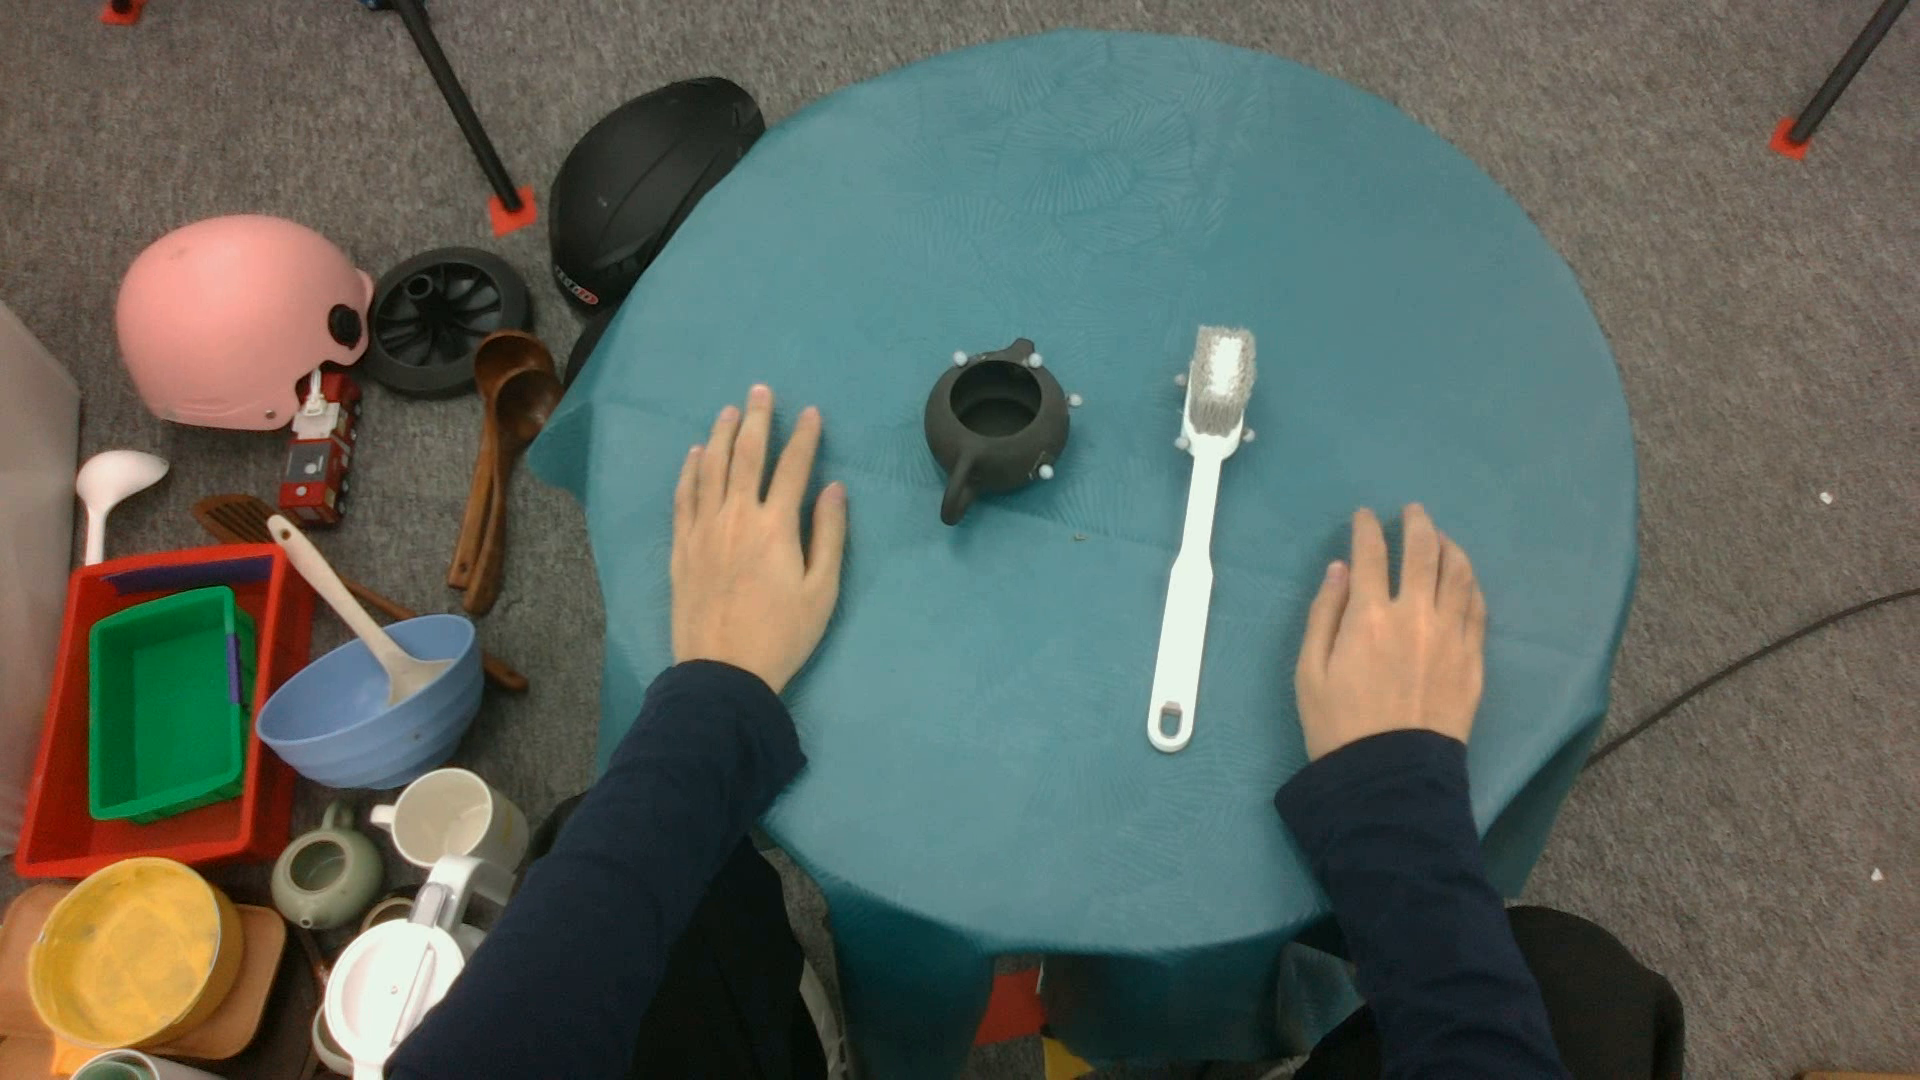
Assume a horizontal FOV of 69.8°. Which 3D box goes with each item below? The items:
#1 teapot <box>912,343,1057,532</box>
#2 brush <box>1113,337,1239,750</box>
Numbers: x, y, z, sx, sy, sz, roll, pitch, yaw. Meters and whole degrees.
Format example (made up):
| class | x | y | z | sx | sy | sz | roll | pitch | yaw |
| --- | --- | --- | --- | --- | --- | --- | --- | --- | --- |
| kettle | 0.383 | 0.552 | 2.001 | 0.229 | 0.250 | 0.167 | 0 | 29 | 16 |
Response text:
| class | x | y | z | sx | sy | sz | roll | pitch | yaw |
| --- | --- | --- | --- | --- | --- | --- | --- | --- | --- |
| teapot | 0.009 | -0.056 | 0.782 | 0.083 | 0.053 | 0.114 | 21 | 67 | 11 |
| brush | 0.119 | -0.006 | 0.755 | 0.034 | 0.050 | 0.244 | 13 | 65 | 4 |
